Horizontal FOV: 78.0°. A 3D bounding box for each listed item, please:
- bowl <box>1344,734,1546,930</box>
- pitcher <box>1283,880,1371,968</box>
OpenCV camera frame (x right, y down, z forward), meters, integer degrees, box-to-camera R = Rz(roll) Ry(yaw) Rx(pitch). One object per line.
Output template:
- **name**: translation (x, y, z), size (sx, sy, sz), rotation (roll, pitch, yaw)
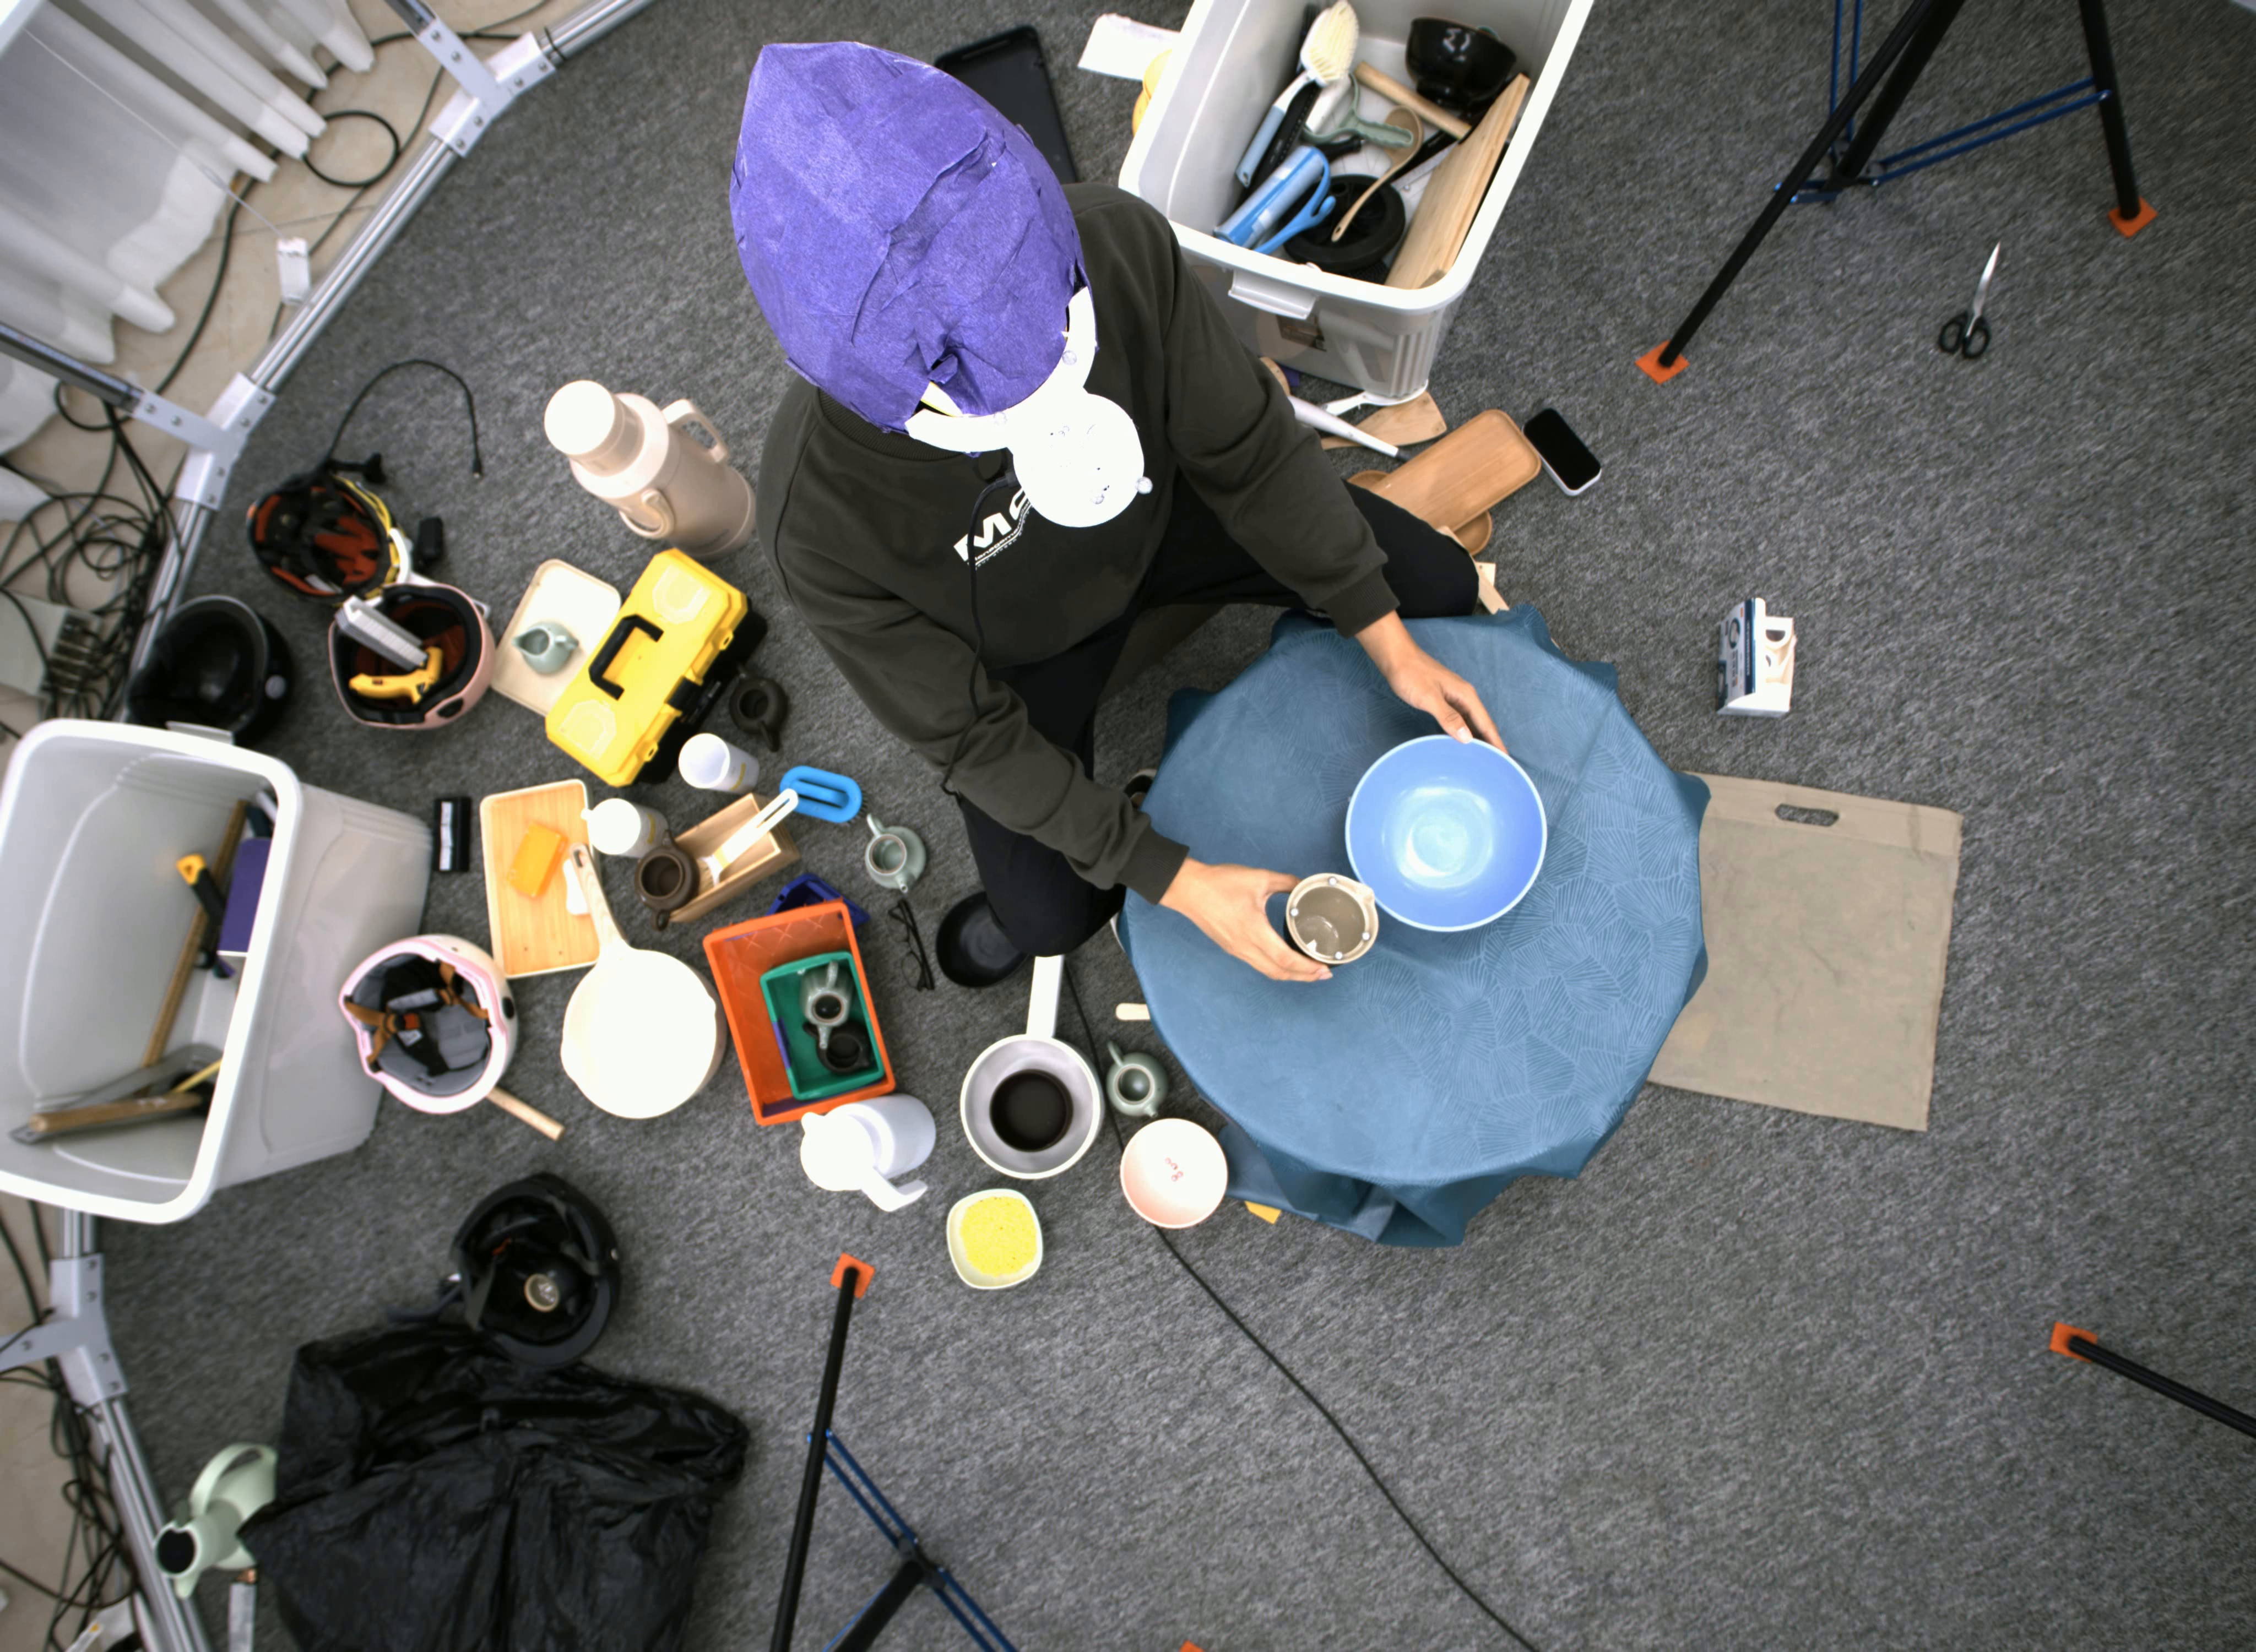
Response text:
- **bowl**: translation (0.322, 0.009, 1.407), size (0.197, 0.095, 0.195), rotation (-1, 85, 12)
- **pitcher**: translation (0.196, 0.098, 1.370), size (0.095, 0.073, 0.083), rotation (-35, 76, -19)
